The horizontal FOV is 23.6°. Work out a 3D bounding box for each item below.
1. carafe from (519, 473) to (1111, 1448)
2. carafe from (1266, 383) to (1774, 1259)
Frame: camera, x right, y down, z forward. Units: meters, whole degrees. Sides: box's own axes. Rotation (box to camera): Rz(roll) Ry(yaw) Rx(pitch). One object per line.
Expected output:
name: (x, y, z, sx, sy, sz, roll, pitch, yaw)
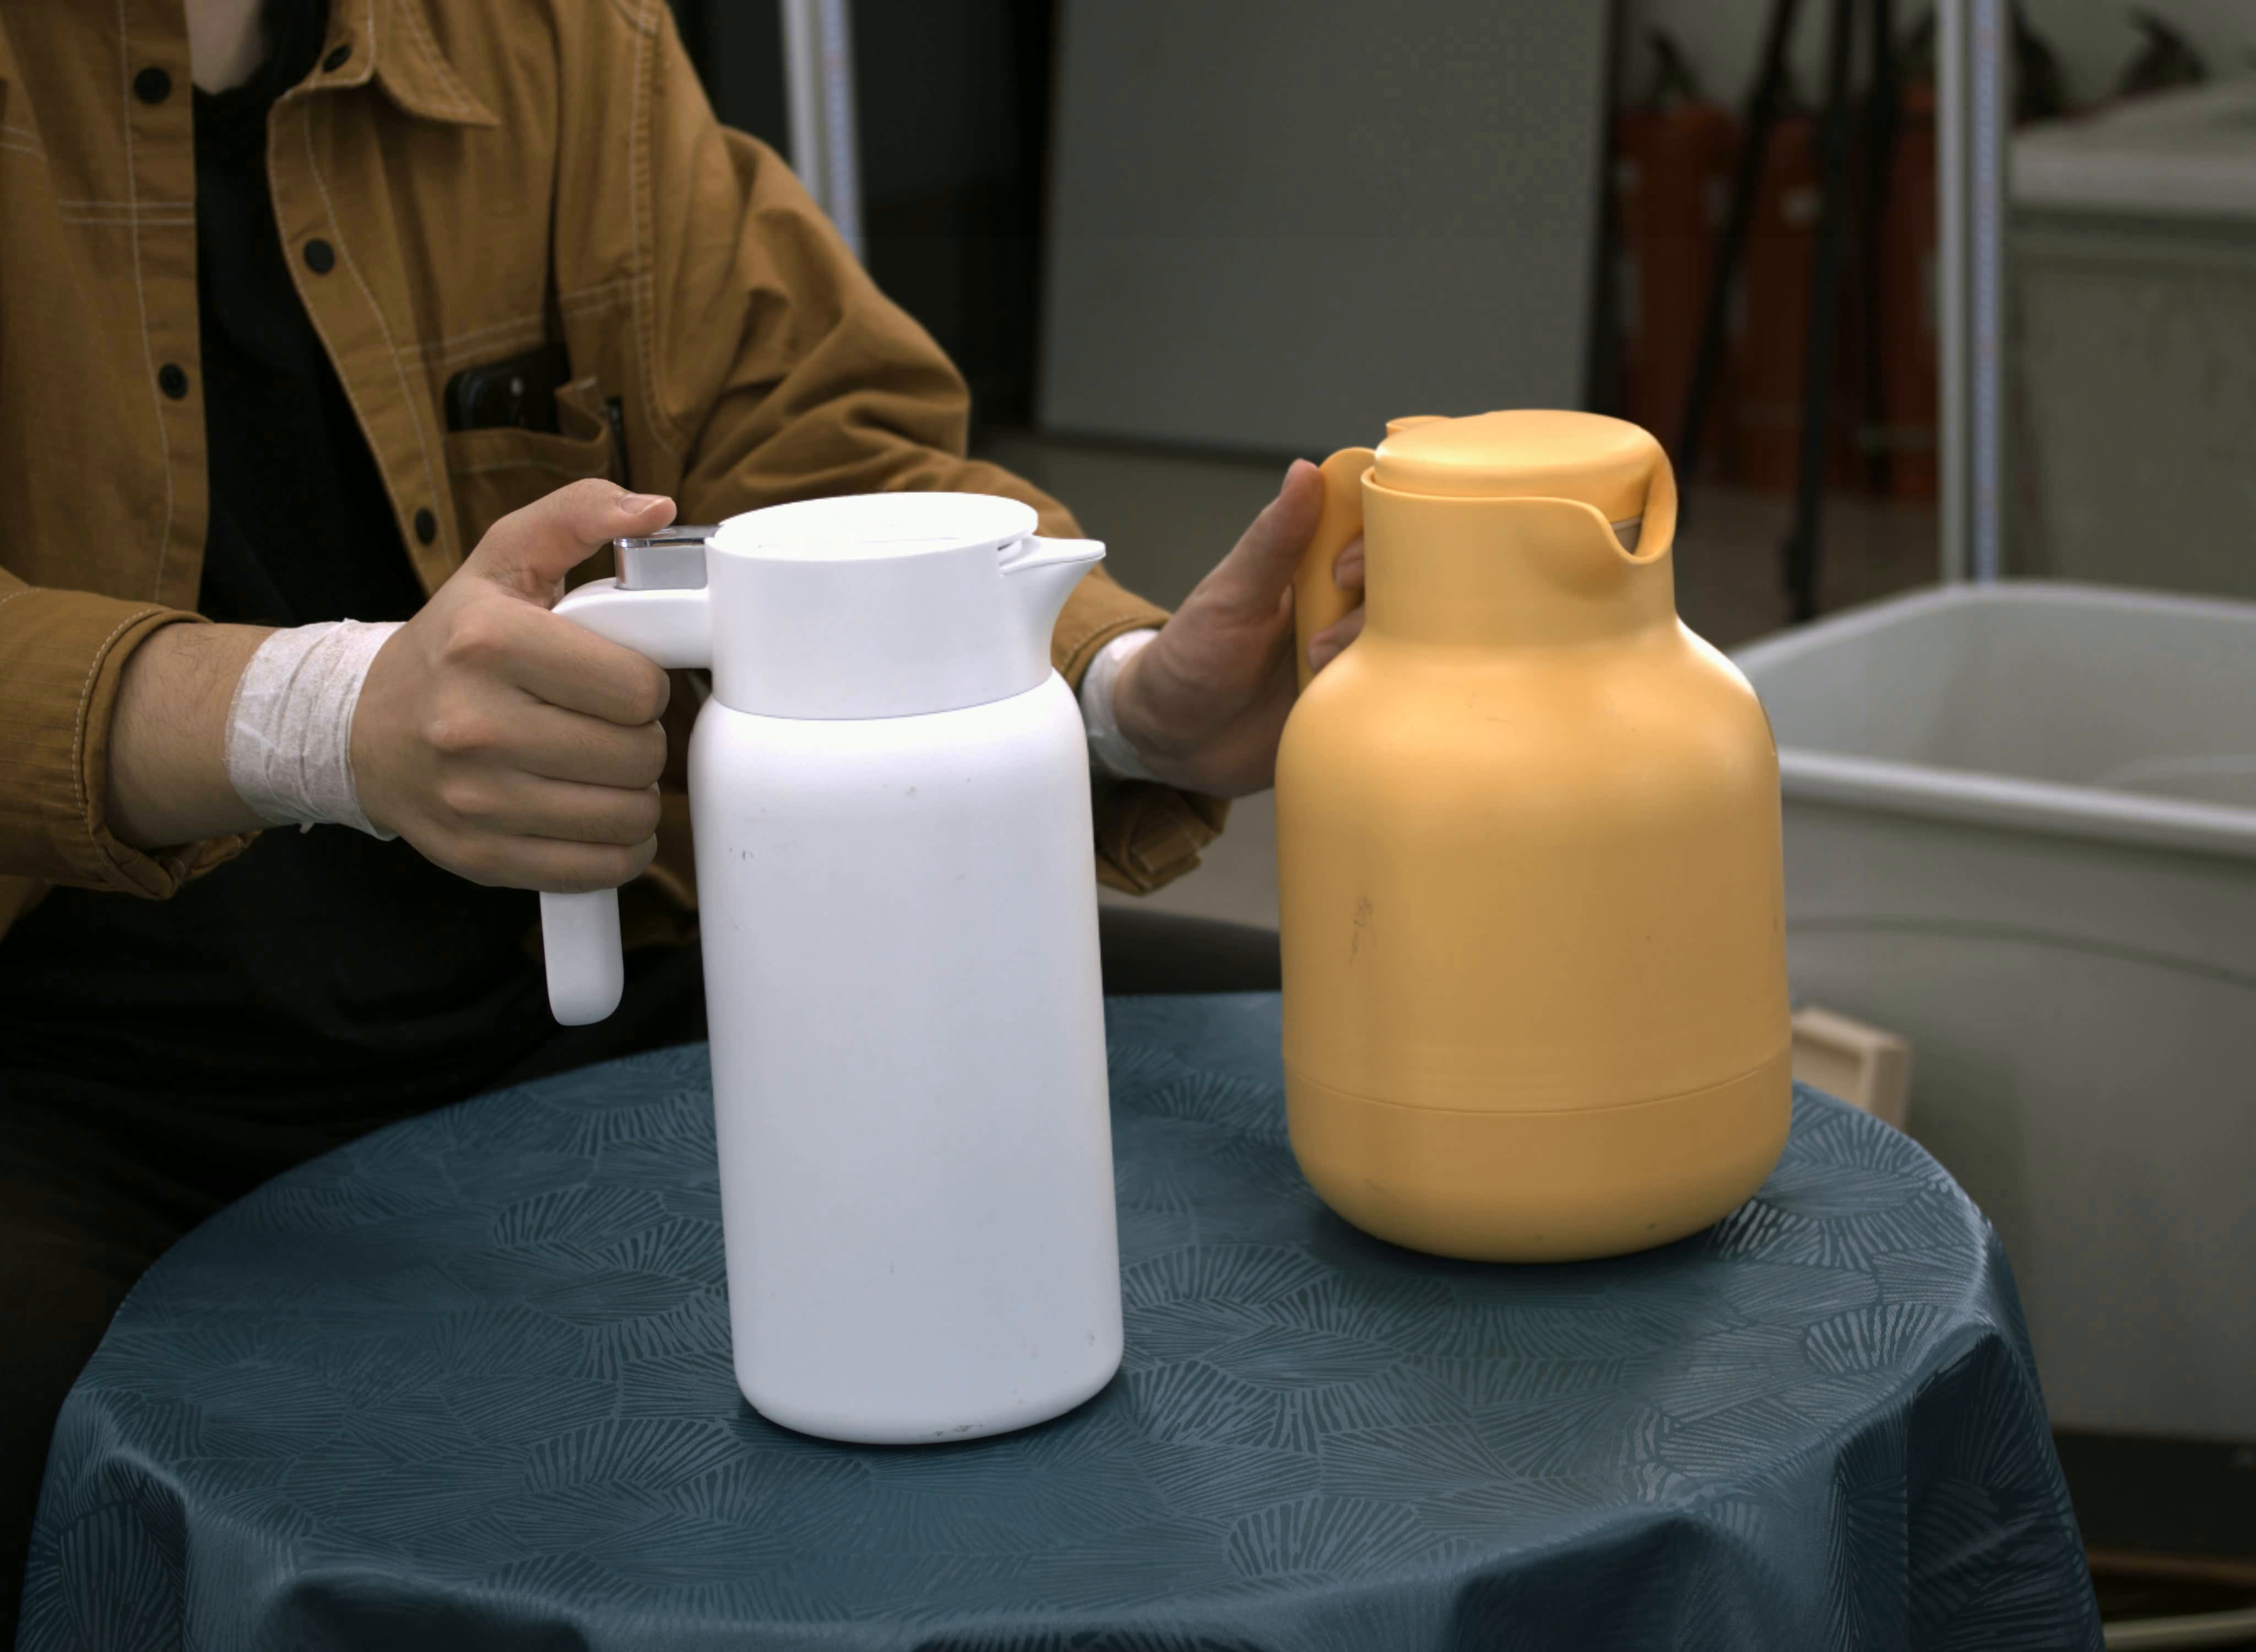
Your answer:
carafe: (-0.086, 0.038, 1.573, 0.171, 0.272, 0.123, -2, 15, 7)
carafe: (0.116, -0.009, 1.712, 0.160, 0.263, 0.204, -7, 15, -24)
